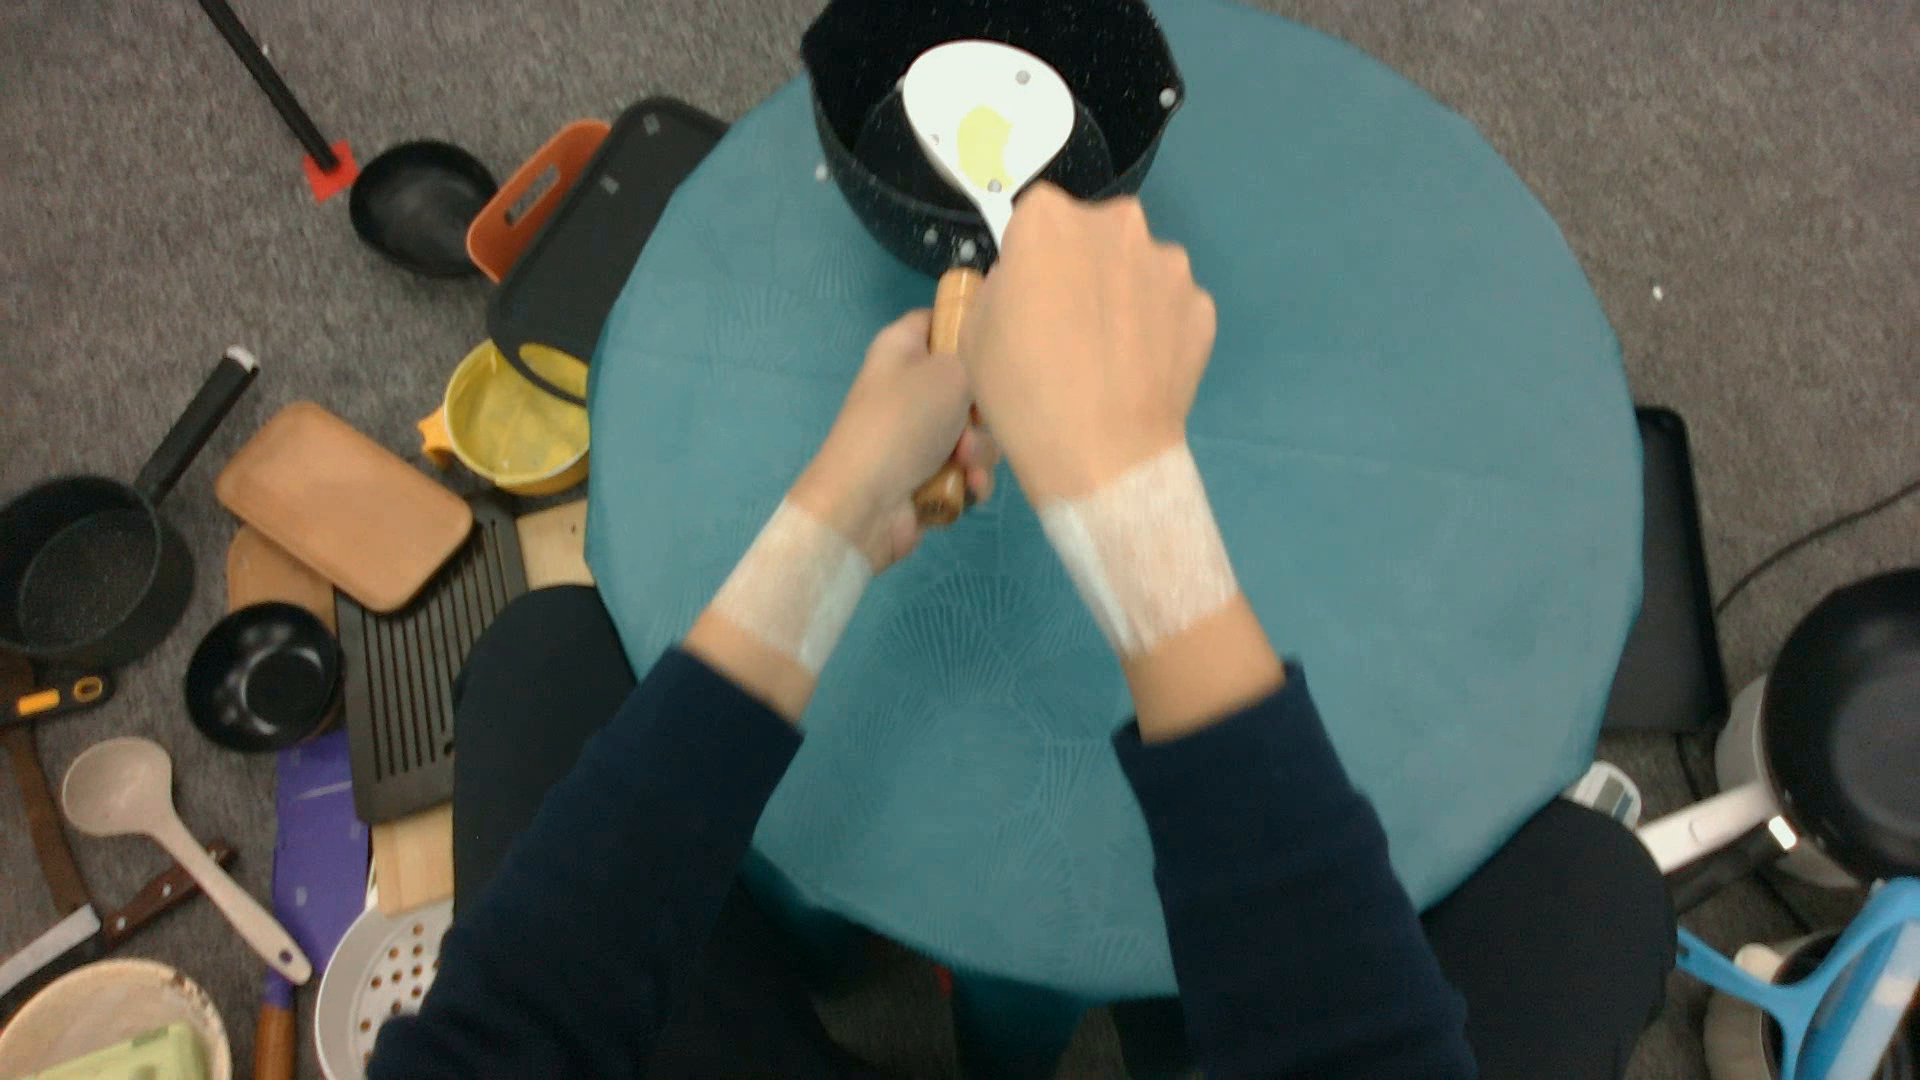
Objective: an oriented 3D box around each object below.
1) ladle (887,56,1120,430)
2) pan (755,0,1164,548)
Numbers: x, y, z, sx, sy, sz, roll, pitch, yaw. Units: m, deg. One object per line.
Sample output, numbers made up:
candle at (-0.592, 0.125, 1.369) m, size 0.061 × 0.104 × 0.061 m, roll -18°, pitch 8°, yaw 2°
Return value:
ladle at (0.023, -0.145, 0.614) m, size 0.090 × 0.069 × 0.294 m, roll 11°, pitch 28°, yaw -18°
pan at (-0.007, -0.141, 0.690) m, size 0.207 × 0.108 × 0.344 m, roll 5°, pitch 68°, yaw 0°
